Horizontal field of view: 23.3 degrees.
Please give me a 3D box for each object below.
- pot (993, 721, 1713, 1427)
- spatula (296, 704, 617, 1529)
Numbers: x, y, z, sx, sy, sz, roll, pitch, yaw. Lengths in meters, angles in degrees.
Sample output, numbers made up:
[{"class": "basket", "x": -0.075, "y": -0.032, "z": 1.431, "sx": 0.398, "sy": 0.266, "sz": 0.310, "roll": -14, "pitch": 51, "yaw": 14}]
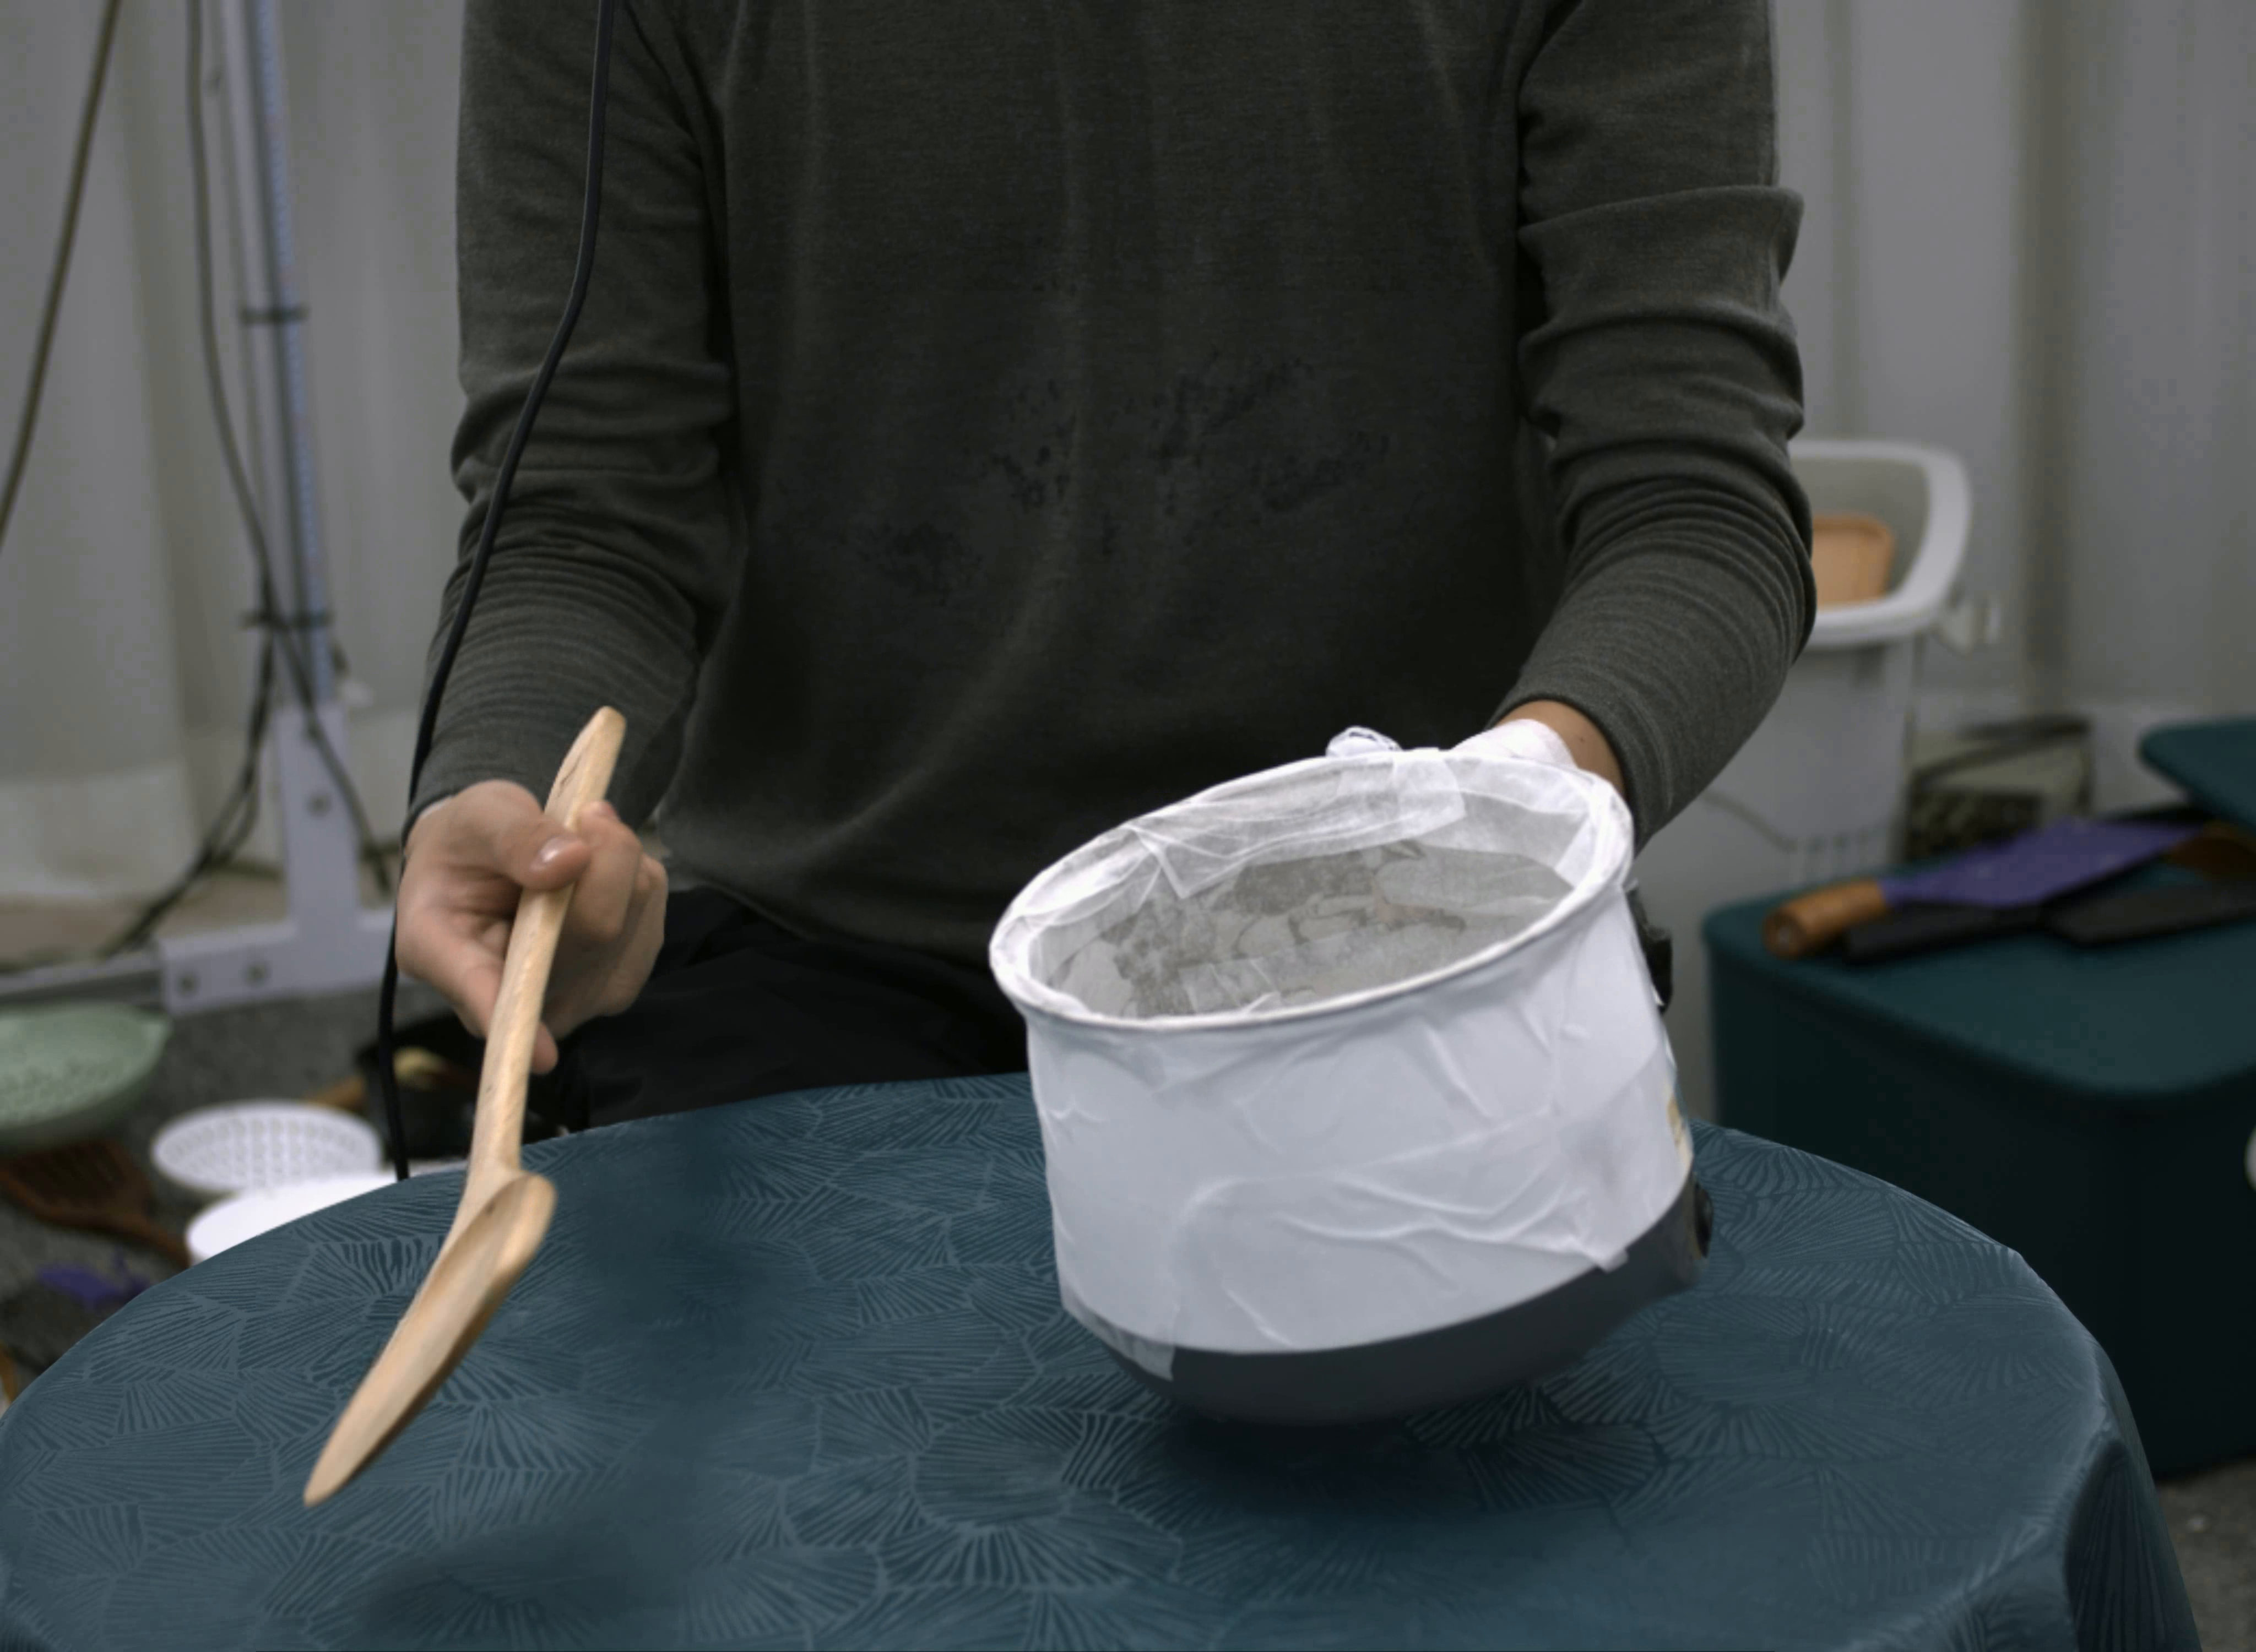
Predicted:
[{"class": "pot", "x": 0.067, "y": 0.061, "z": 1.516, "sx": 0.178, "sy": 0.135, "sz": 0.236, "roll": -8, "pitch": 21, "yaw": 12}, {"class": "spatula", "x": -0.179, "y": 0.064, "z": 1.557, "sx": 0.018, "sy": 0.095, "sz": 0.395, "roll": 31, "pitch": 25, "yaw": -15}]
